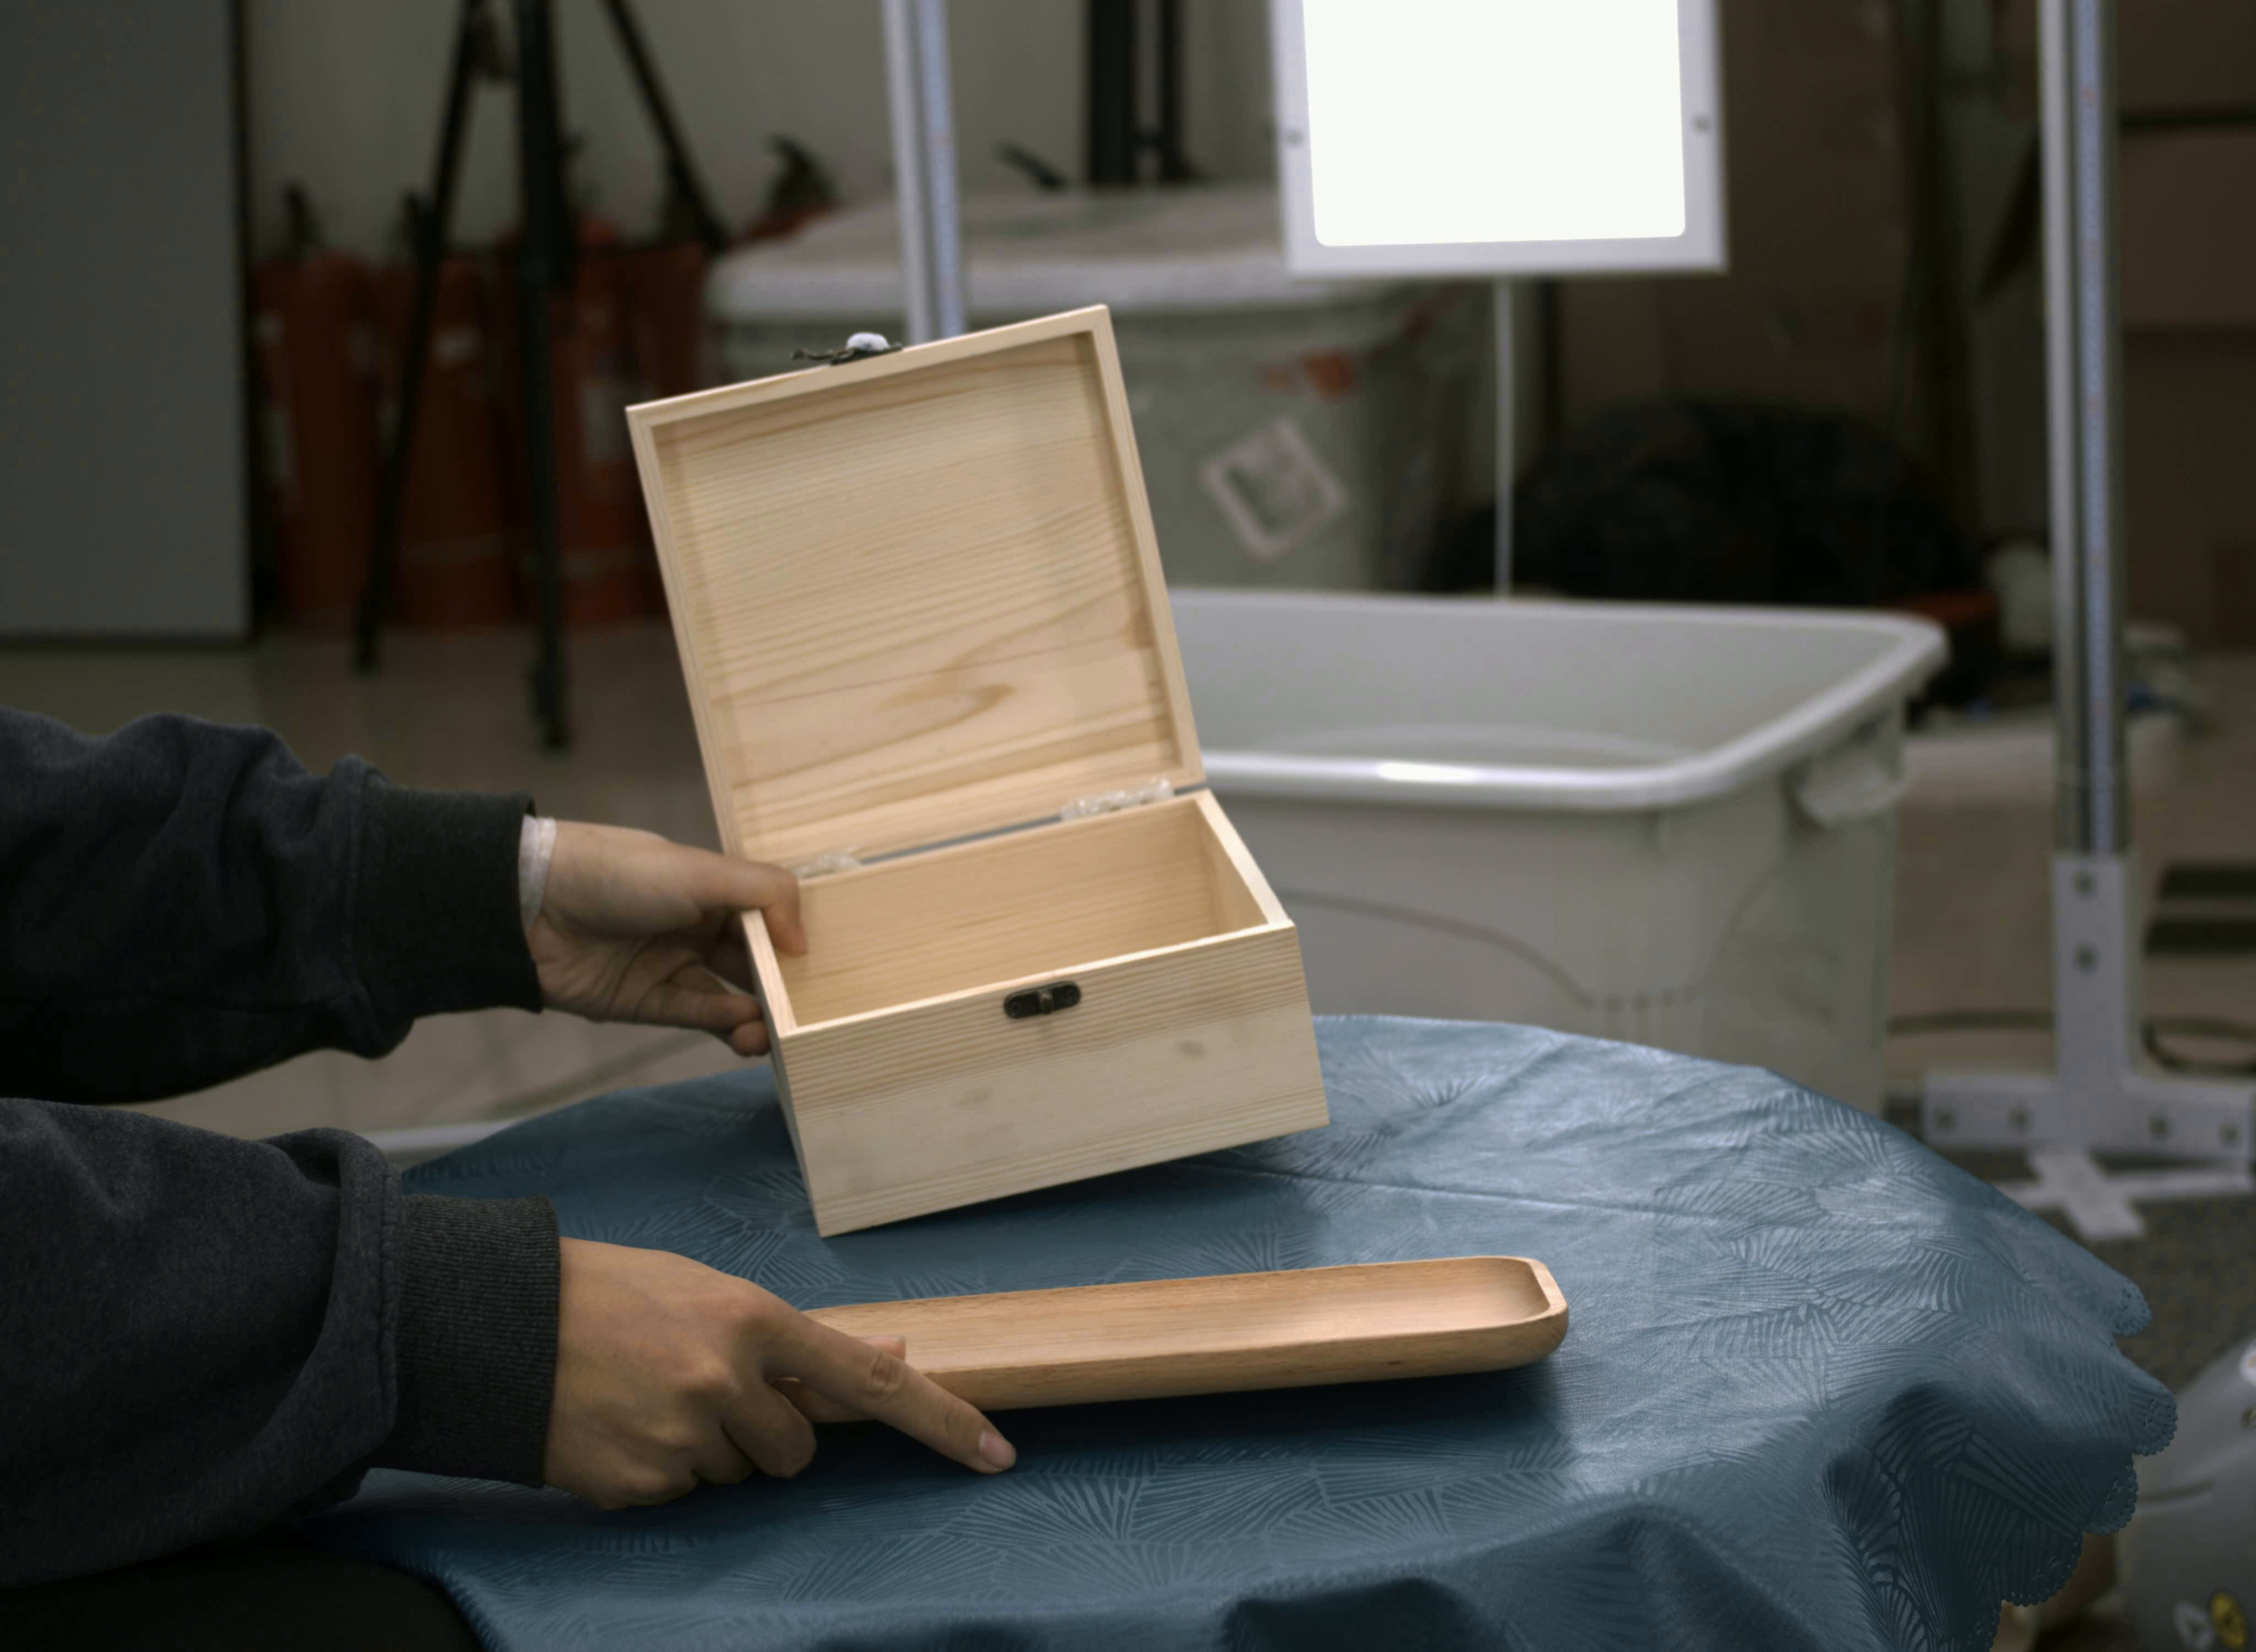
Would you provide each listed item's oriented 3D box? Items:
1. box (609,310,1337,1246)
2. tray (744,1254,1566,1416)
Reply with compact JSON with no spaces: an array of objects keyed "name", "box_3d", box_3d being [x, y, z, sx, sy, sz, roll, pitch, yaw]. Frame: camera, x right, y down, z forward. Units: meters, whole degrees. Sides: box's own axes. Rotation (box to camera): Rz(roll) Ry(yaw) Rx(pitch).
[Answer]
[{"name":"box","box_3d":[-0.060,-0.025,1.966,0.181,0.253,0.266,-15,16,-5]},{"name":"tray","box_3d":[0.008,0.157,1.698,0.250,0.023,0.130,-5,2,2]}]
